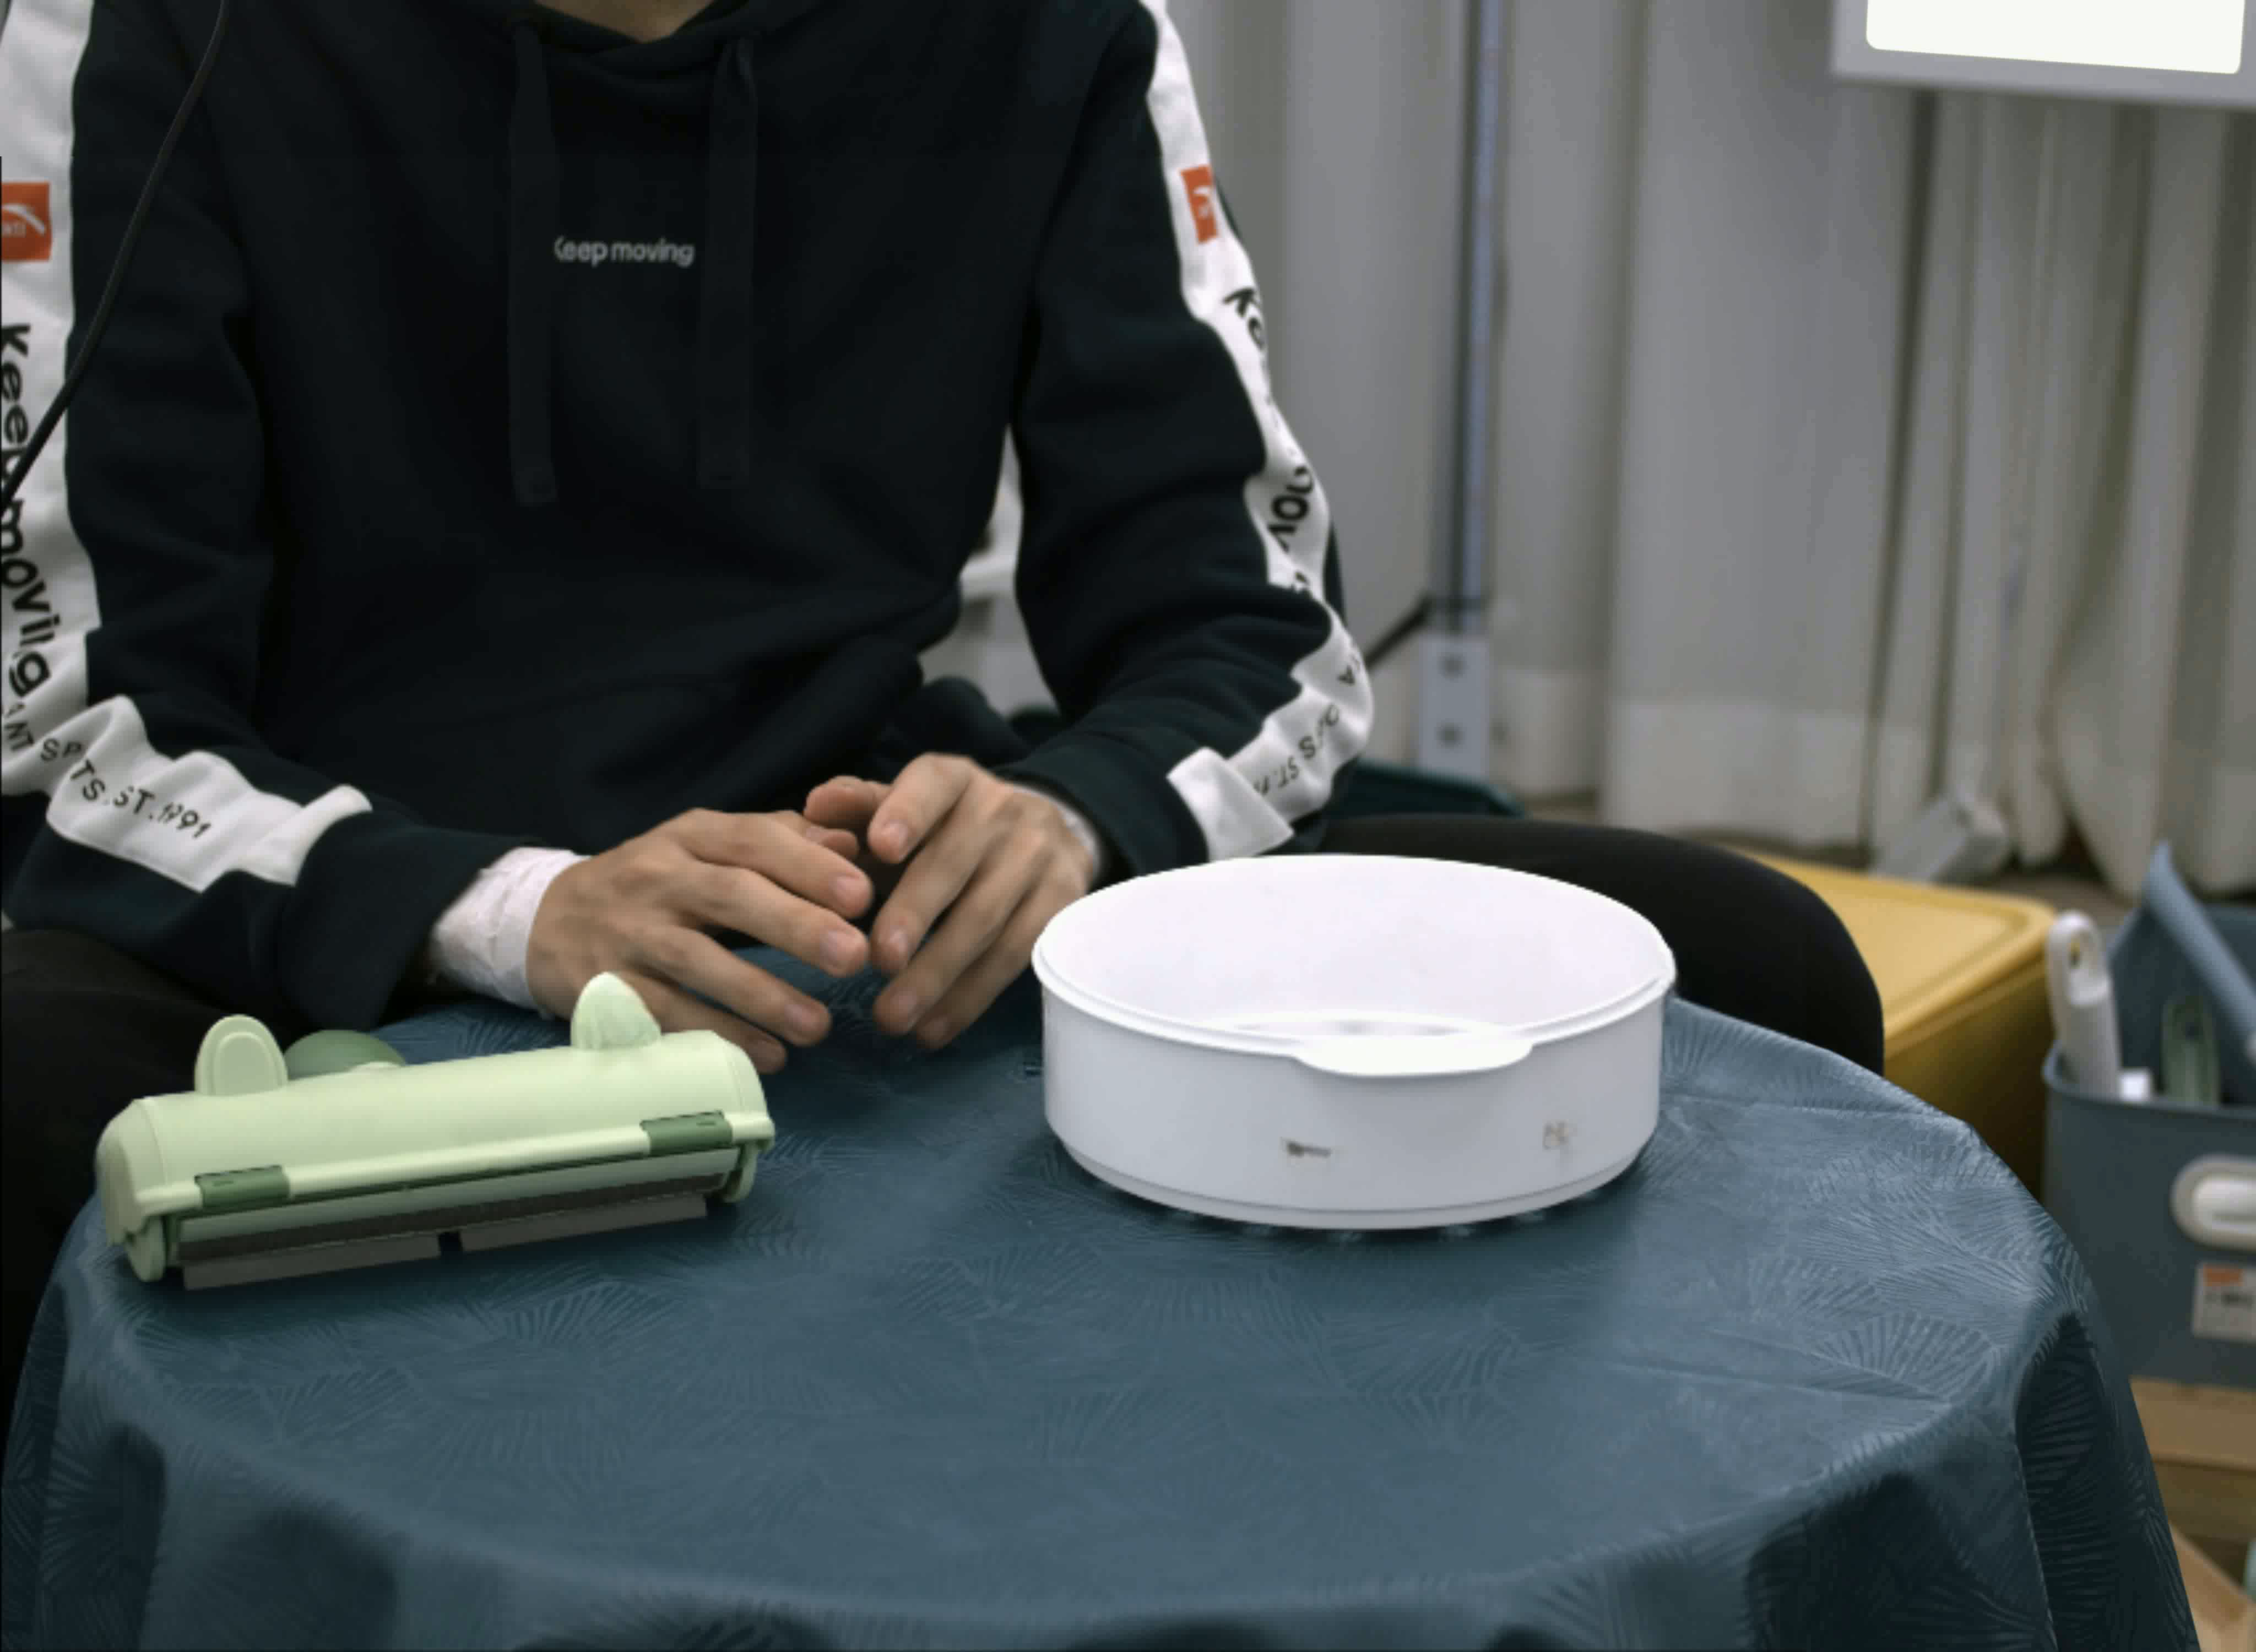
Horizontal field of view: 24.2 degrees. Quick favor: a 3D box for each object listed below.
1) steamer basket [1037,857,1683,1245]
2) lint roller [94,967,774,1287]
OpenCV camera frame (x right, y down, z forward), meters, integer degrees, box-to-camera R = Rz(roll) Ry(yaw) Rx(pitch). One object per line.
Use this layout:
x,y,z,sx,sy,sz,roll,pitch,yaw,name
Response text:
0.072,0.070,1.648,0.202,0.070,0.228,-3,17,-10,steamer basket
-0.227,0.073,1.609,0.199,0.083,0.181,-6,21,-23,lint roller
